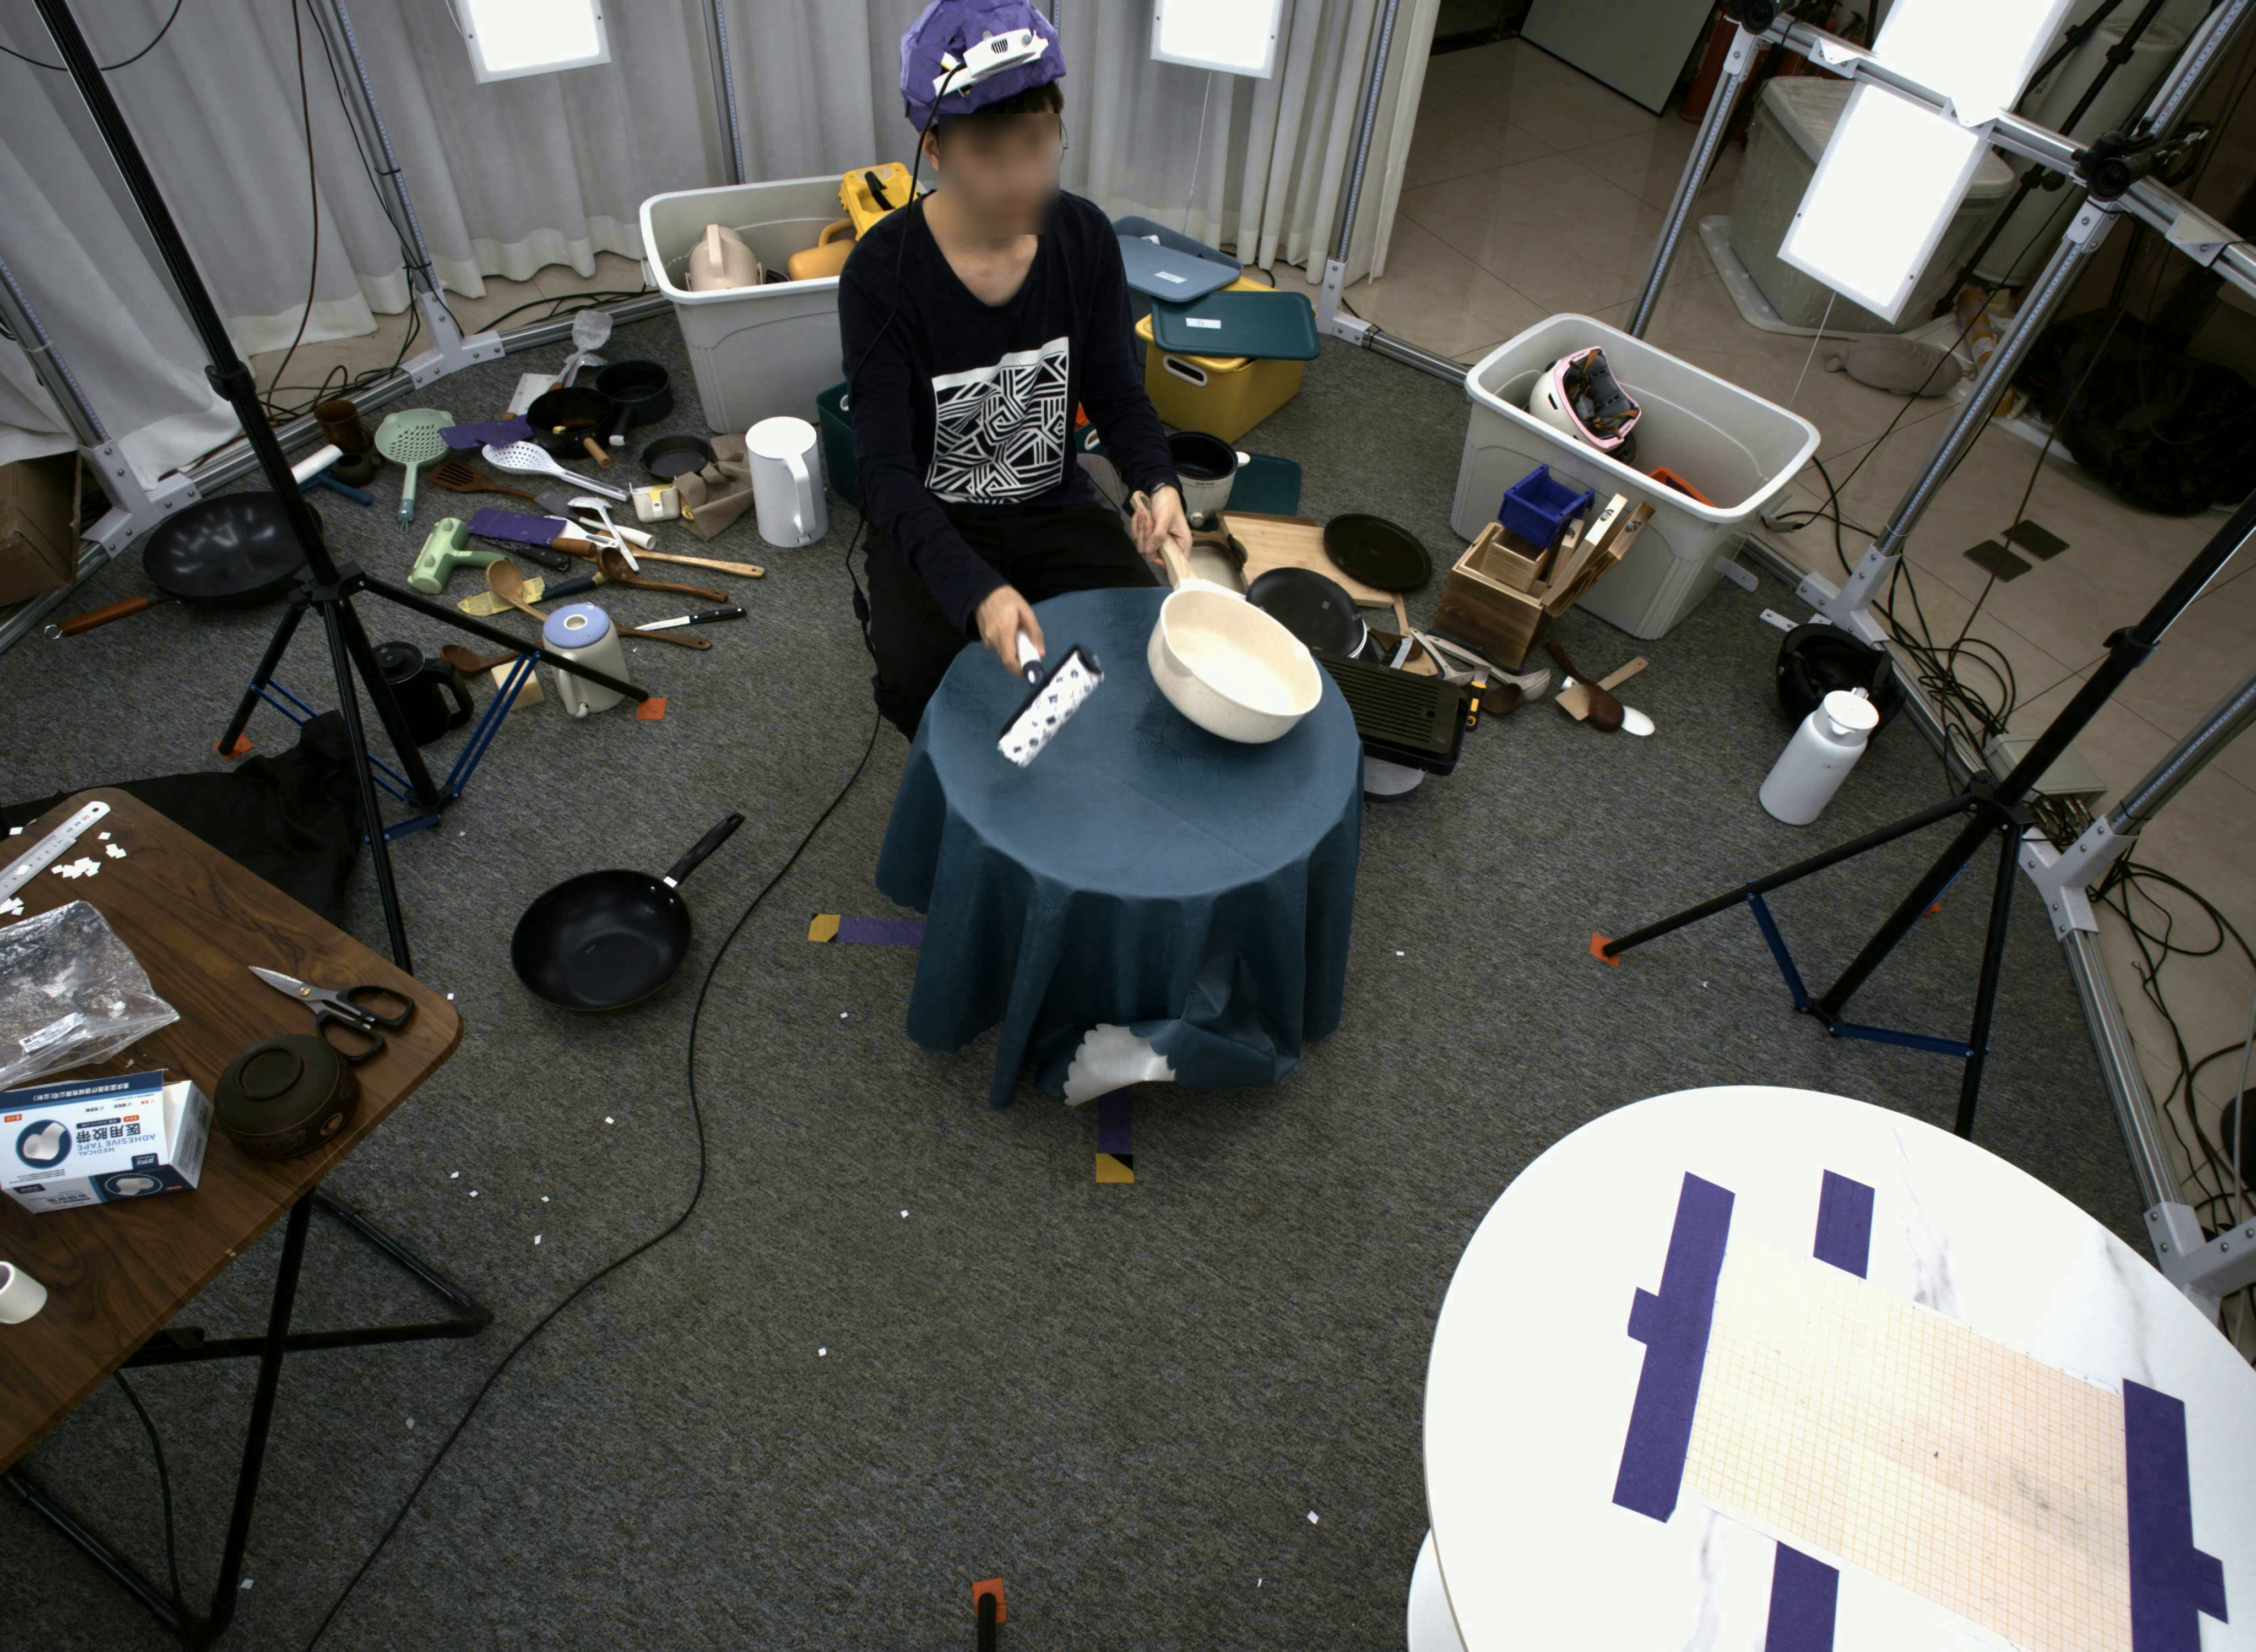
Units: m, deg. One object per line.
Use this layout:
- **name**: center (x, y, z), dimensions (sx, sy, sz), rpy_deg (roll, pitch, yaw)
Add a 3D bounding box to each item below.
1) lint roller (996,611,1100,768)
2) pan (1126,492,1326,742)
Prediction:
- **lint roller**: center (-0.133, -0.211, 1.702), dimensions (0.049, 0.174, 0.253), rpy_deg (25, 28, -39)
- **pan**: center (0.100, -0.291, 1.809), dimensions (0.263, 0.100, 0.443), rpy_deg (-9, 54, -39)
